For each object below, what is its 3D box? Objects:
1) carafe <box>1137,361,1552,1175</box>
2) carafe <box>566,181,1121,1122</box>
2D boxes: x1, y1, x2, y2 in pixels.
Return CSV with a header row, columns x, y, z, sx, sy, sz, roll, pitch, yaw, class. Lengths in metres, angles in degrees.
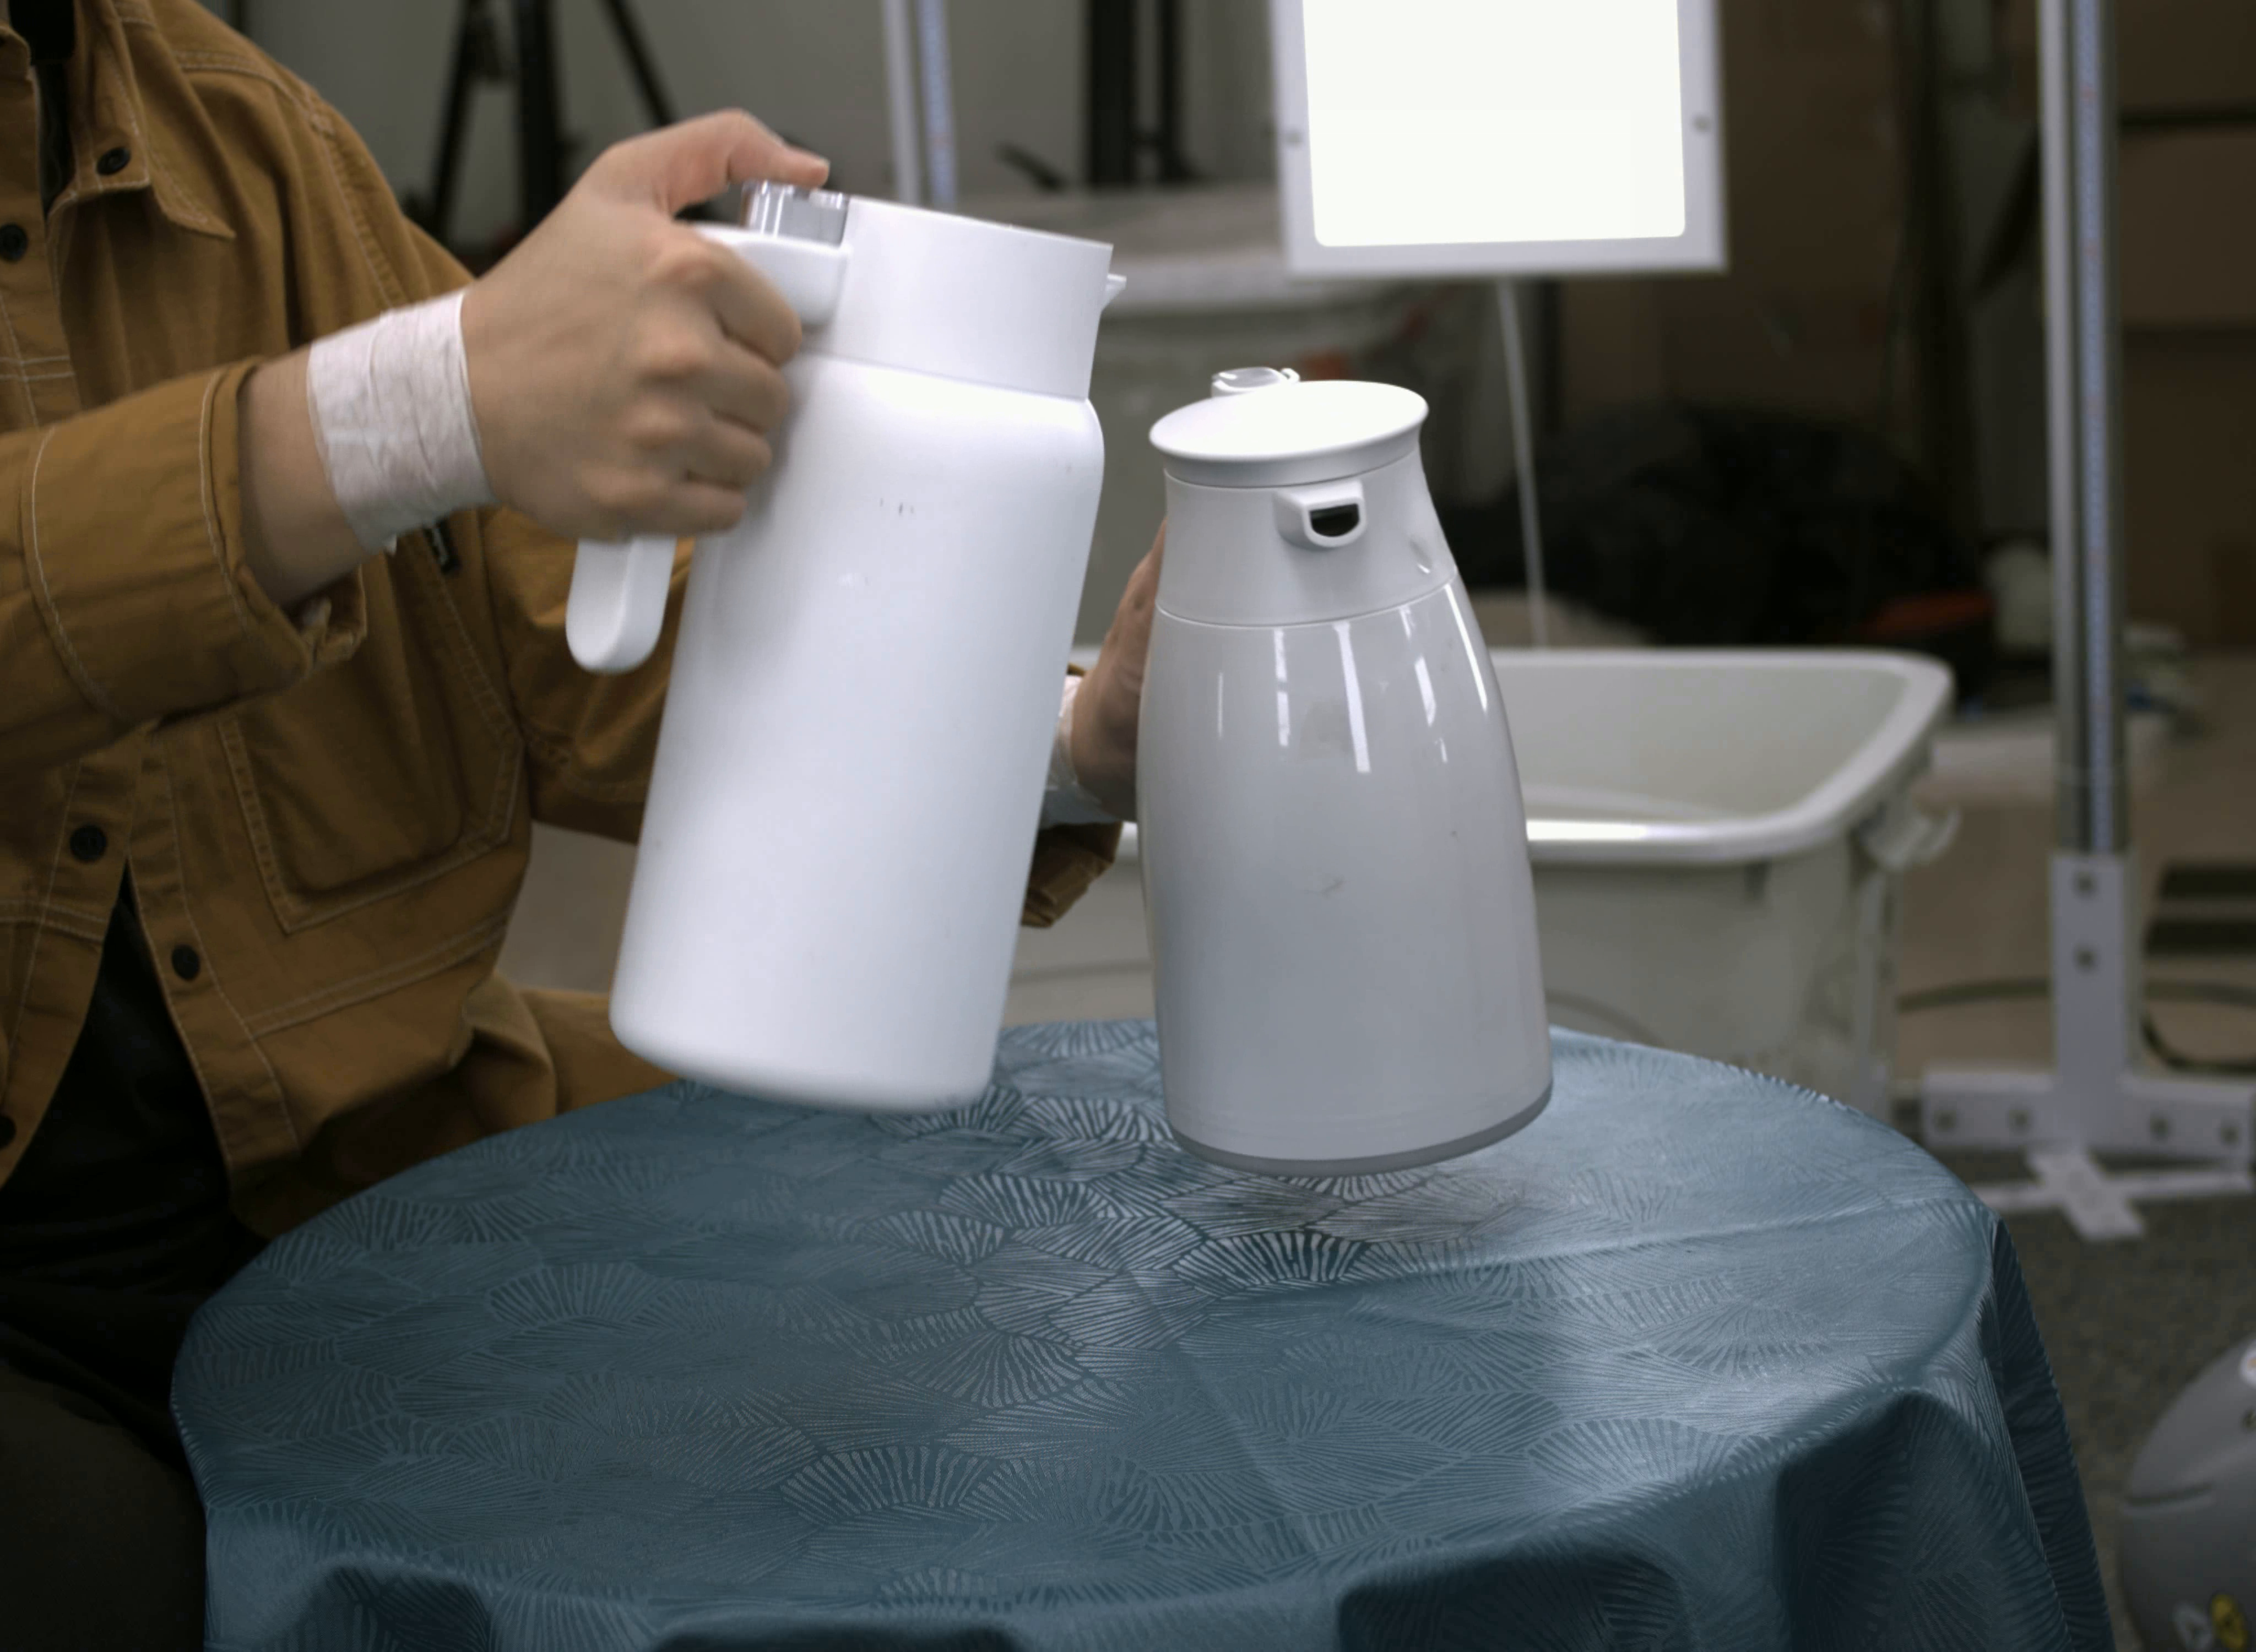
x,y,z,sx,sy,sz,roll,pitch,yaw,class
0.060,-0.028,1.835,0.131,0.249,0.169,-10,17,-8,carafe
-0.088,-0.052,1.638,0.168,0.270,0.126,4,11,-40,carafe
